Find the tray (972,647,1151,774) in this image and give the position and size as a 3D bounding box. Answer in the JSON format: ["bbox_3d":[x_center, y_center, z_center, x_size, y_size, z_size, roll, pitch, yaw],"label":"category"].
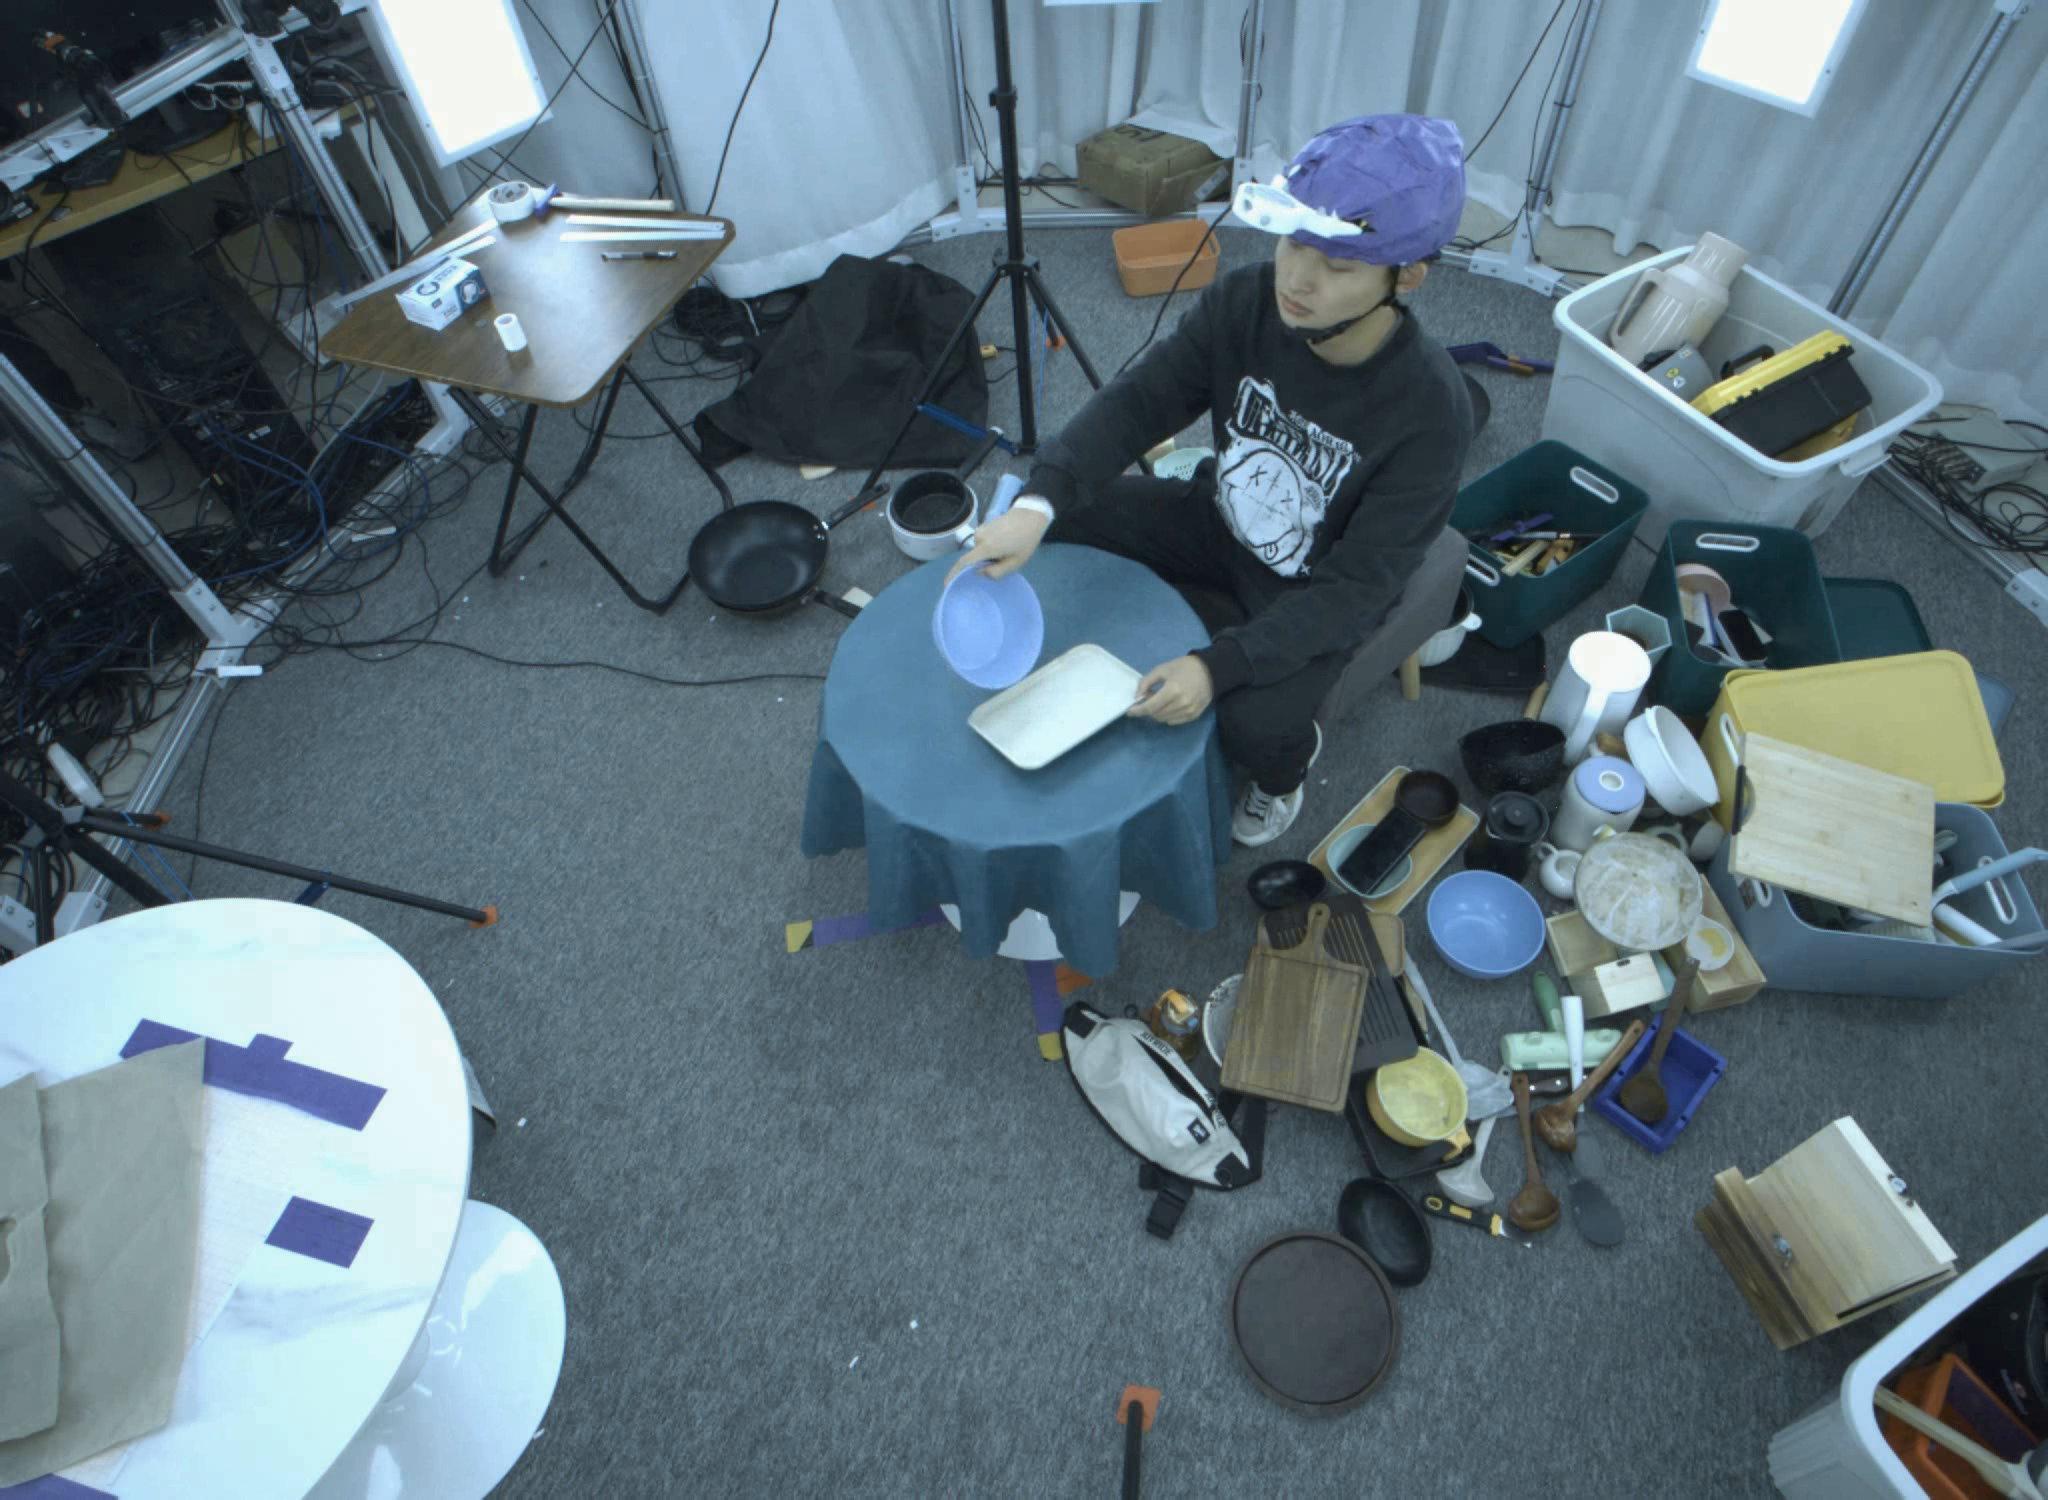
[{"bbox_3d":[0.056,-0.059,1.807,0.241,0.018,0.167,-33,47,-19],"label":"tray"}]

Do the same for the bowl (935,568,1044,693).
[{"bbox_3d":[-0.060,-0.167,1.733,0.069,0.179,0.177,4,46,51],"label":"bowl"}]
